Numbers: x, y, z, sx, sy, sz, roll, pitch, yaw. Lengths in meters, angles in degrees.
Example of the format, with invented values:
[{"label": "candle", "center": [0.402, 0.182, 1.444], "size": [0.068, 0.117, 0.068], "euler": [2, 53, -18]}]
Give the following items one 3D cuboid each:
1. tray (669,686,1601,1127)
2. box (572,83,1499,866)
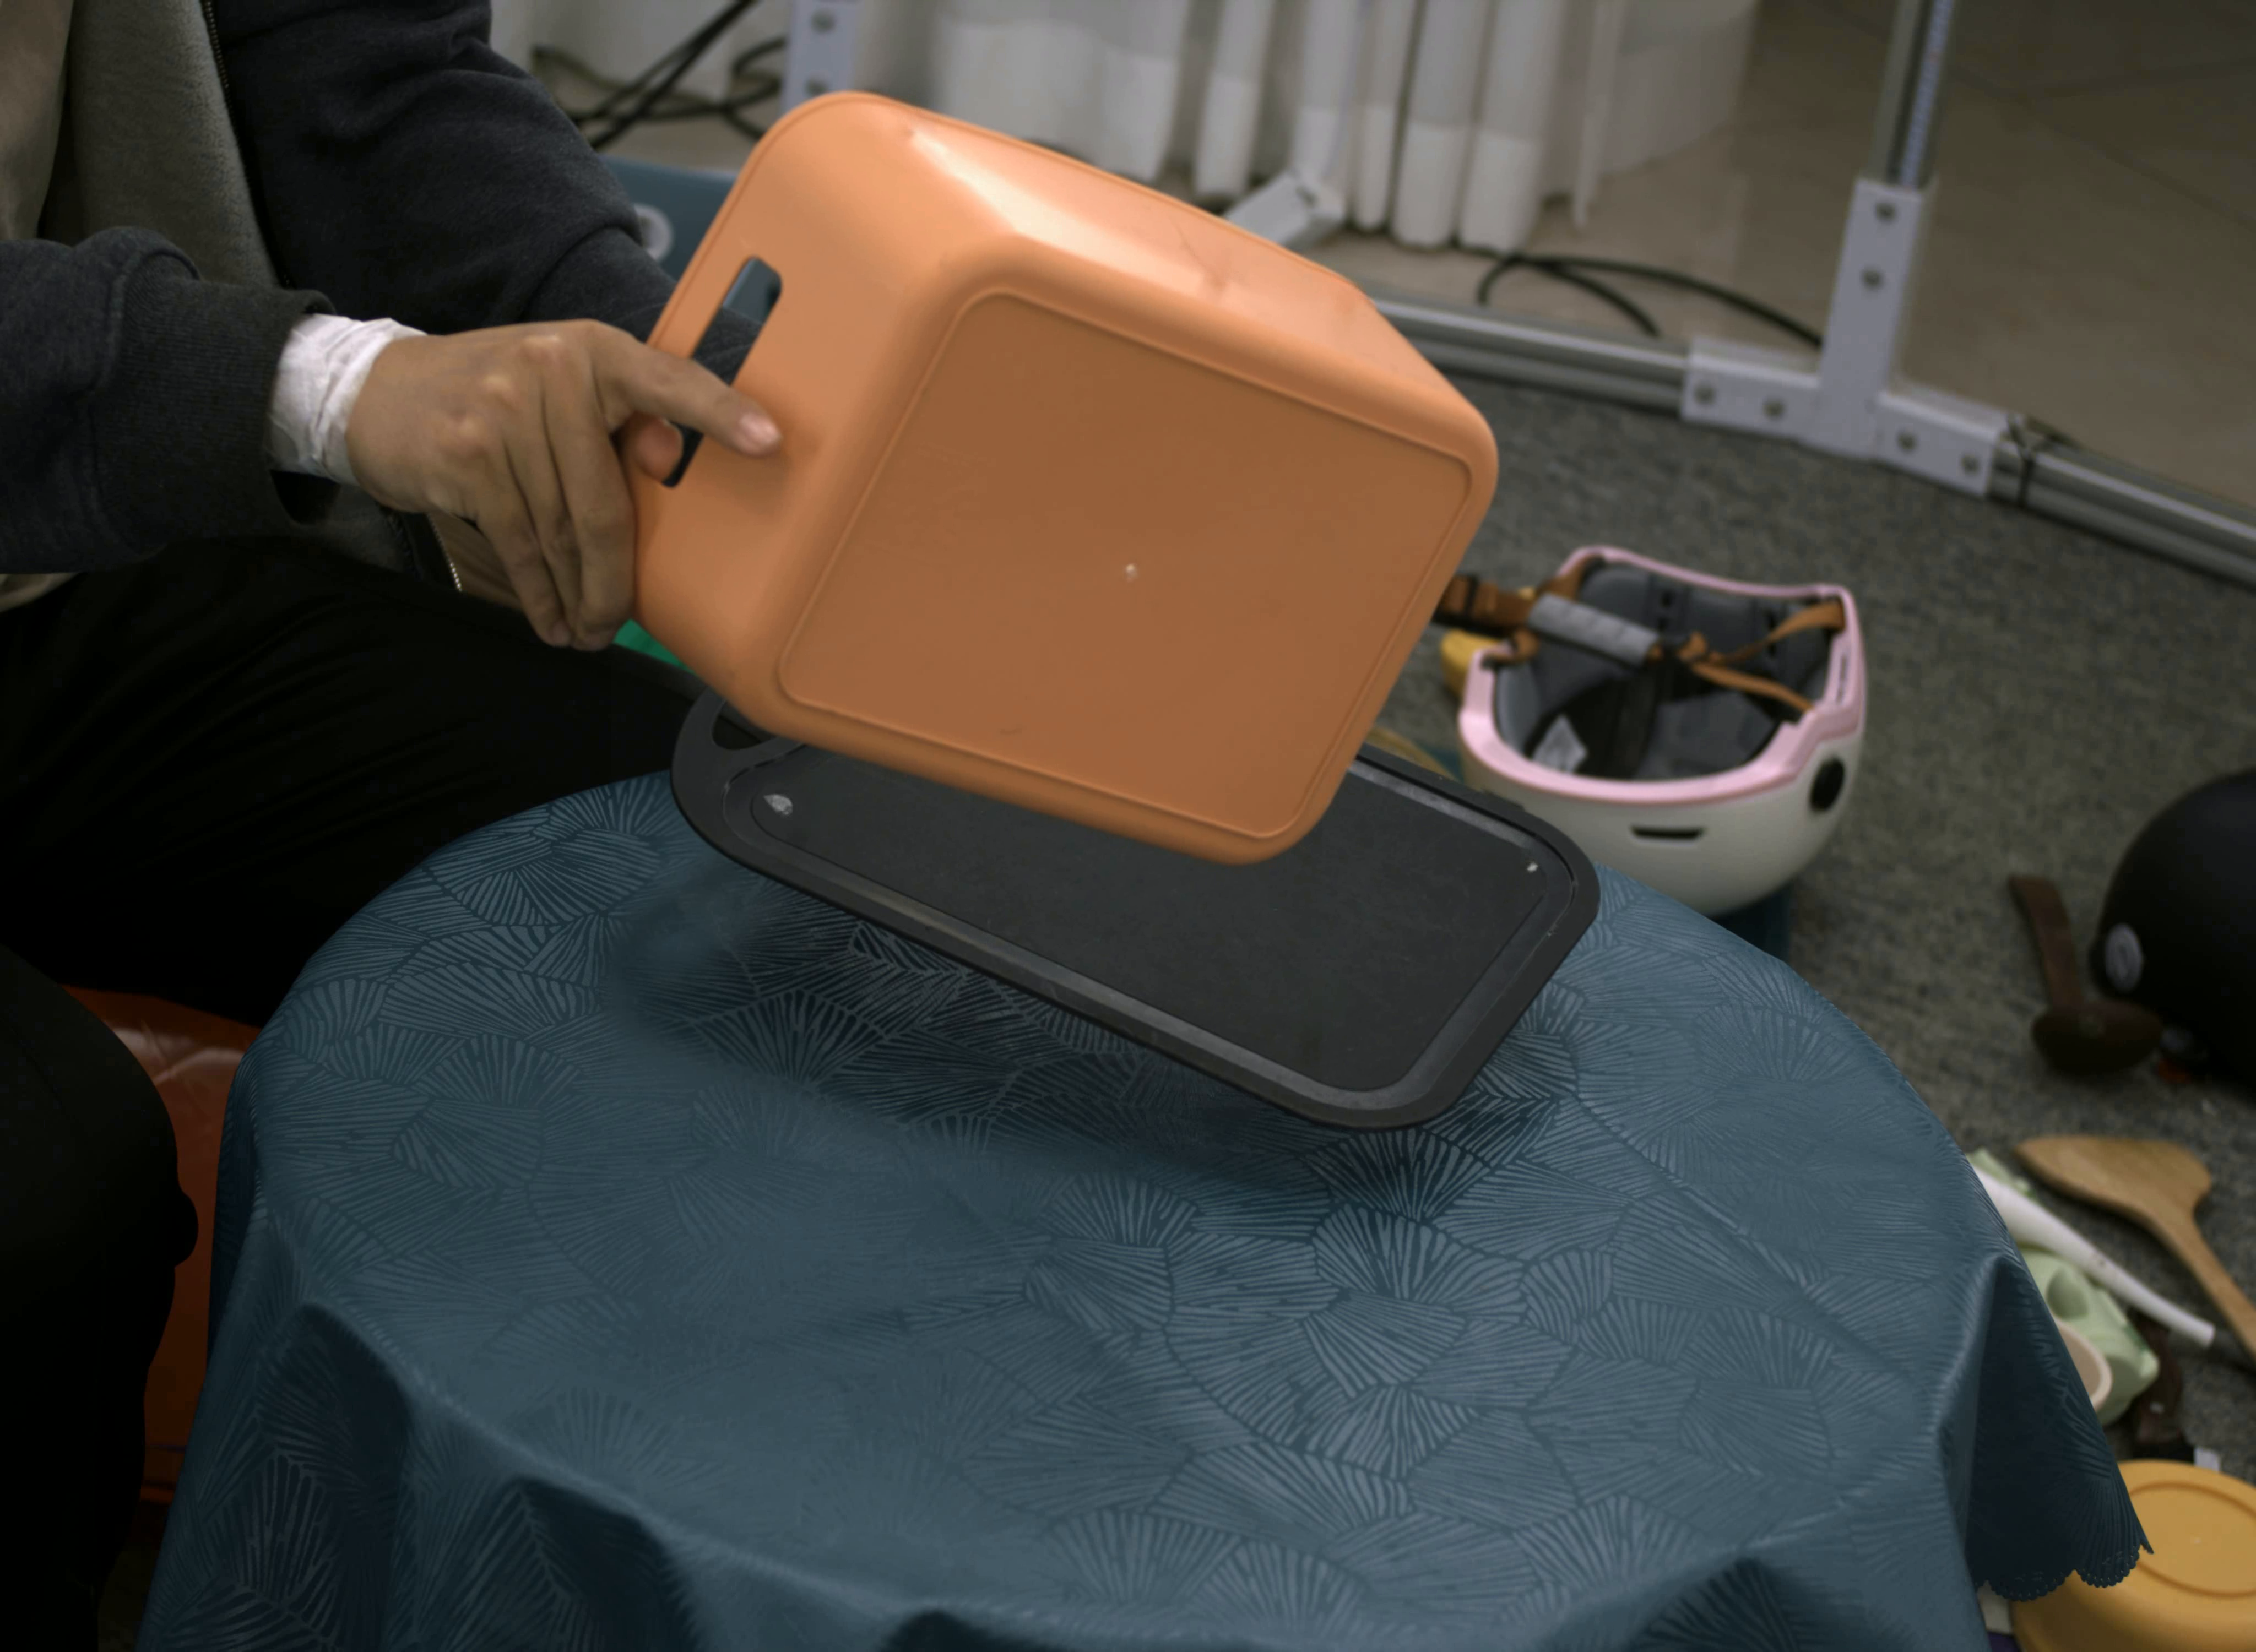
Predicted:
[{"label": "tray", "center": [-0.003, 0.002, 1.906], "size": [0.326, 0.010, 0.211], "euler": [23, 38, 16]}, {"label": "box", "center": [-0.022, -0.102, 1.697], "size": [0.270, 0.199, 0.103], "euler": [17, 17, -38]}]
